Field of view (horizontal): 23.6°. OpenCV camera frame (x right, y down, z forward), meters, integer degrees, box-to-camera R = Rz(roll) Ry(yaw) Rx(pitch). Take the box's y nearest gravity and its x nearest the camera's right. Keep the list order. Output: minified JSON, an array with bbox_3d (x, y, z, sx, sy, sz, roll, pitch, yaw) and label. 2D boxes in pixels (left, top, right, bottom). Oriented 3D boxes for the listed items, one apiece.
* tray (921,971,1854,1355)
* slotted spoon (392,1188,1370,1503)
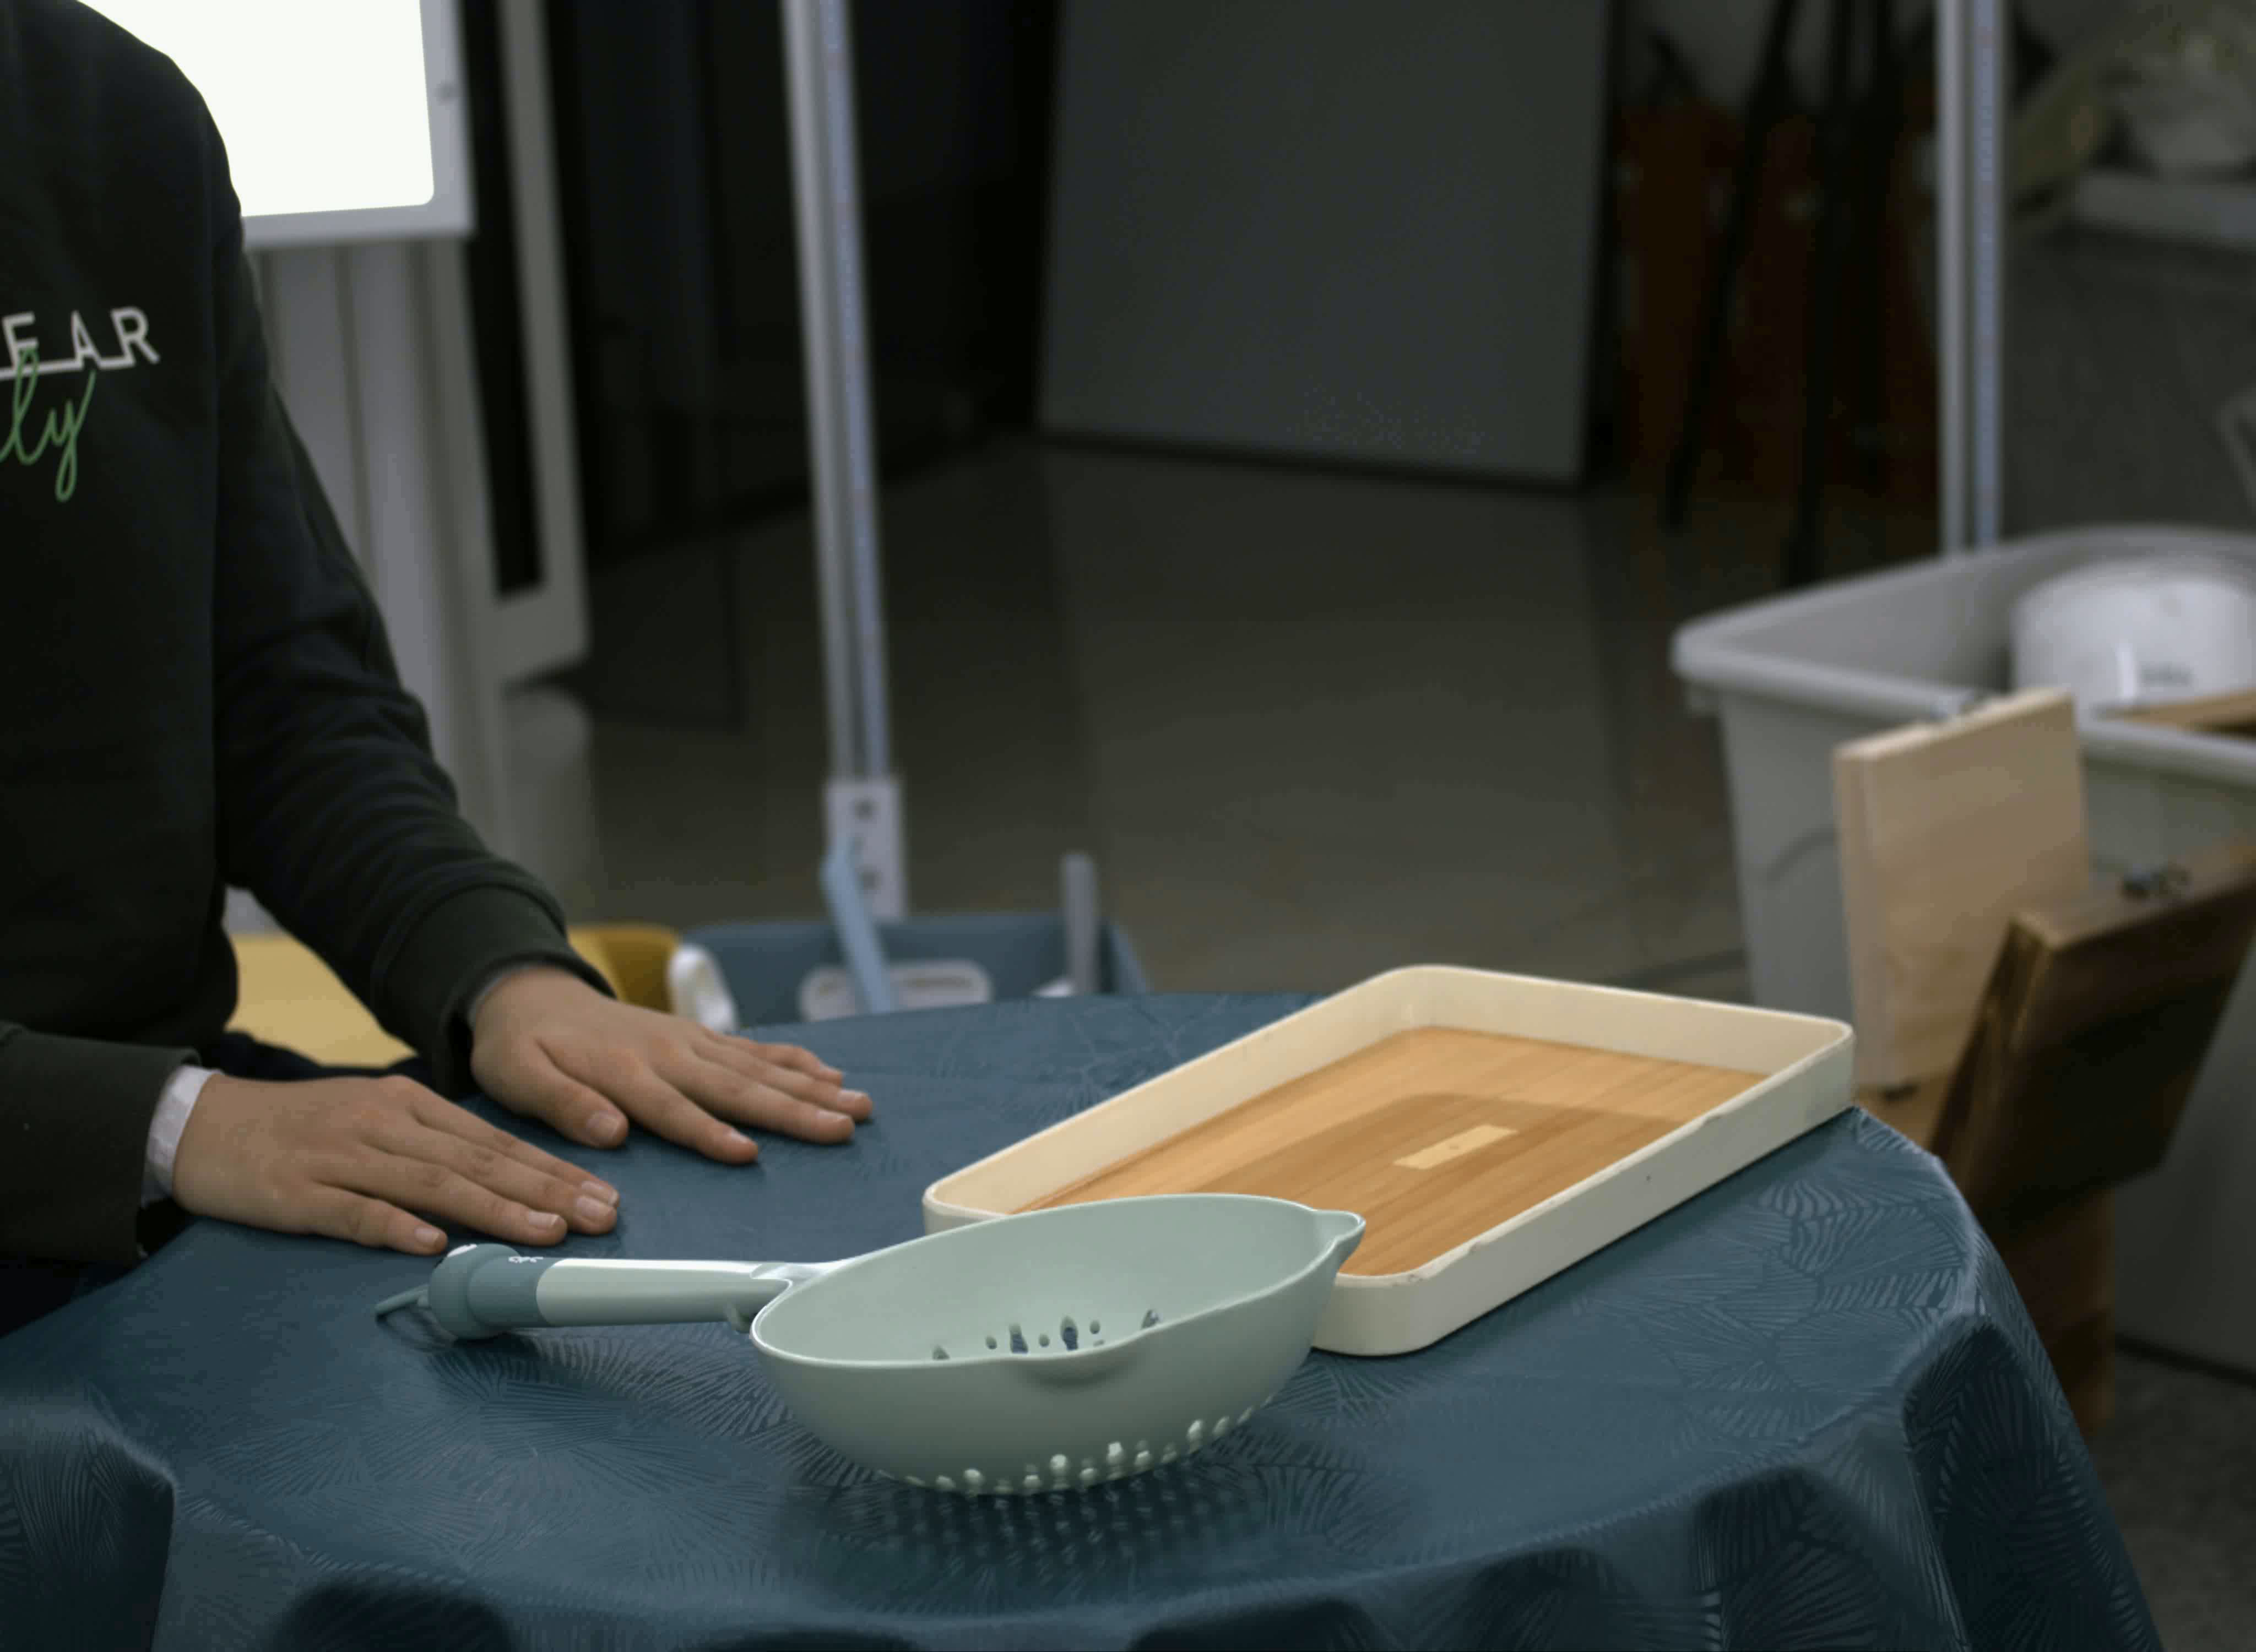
[{"bbox_3d":[0.090,0.105,1.756,0.193,0.028,0.295,6,17,37],"label":"tray"},{"bbox_3d":[-0.094,0.142,1.580,0.361,0.076,0.166,8,17,40],"label":"slotted spoon"}]
